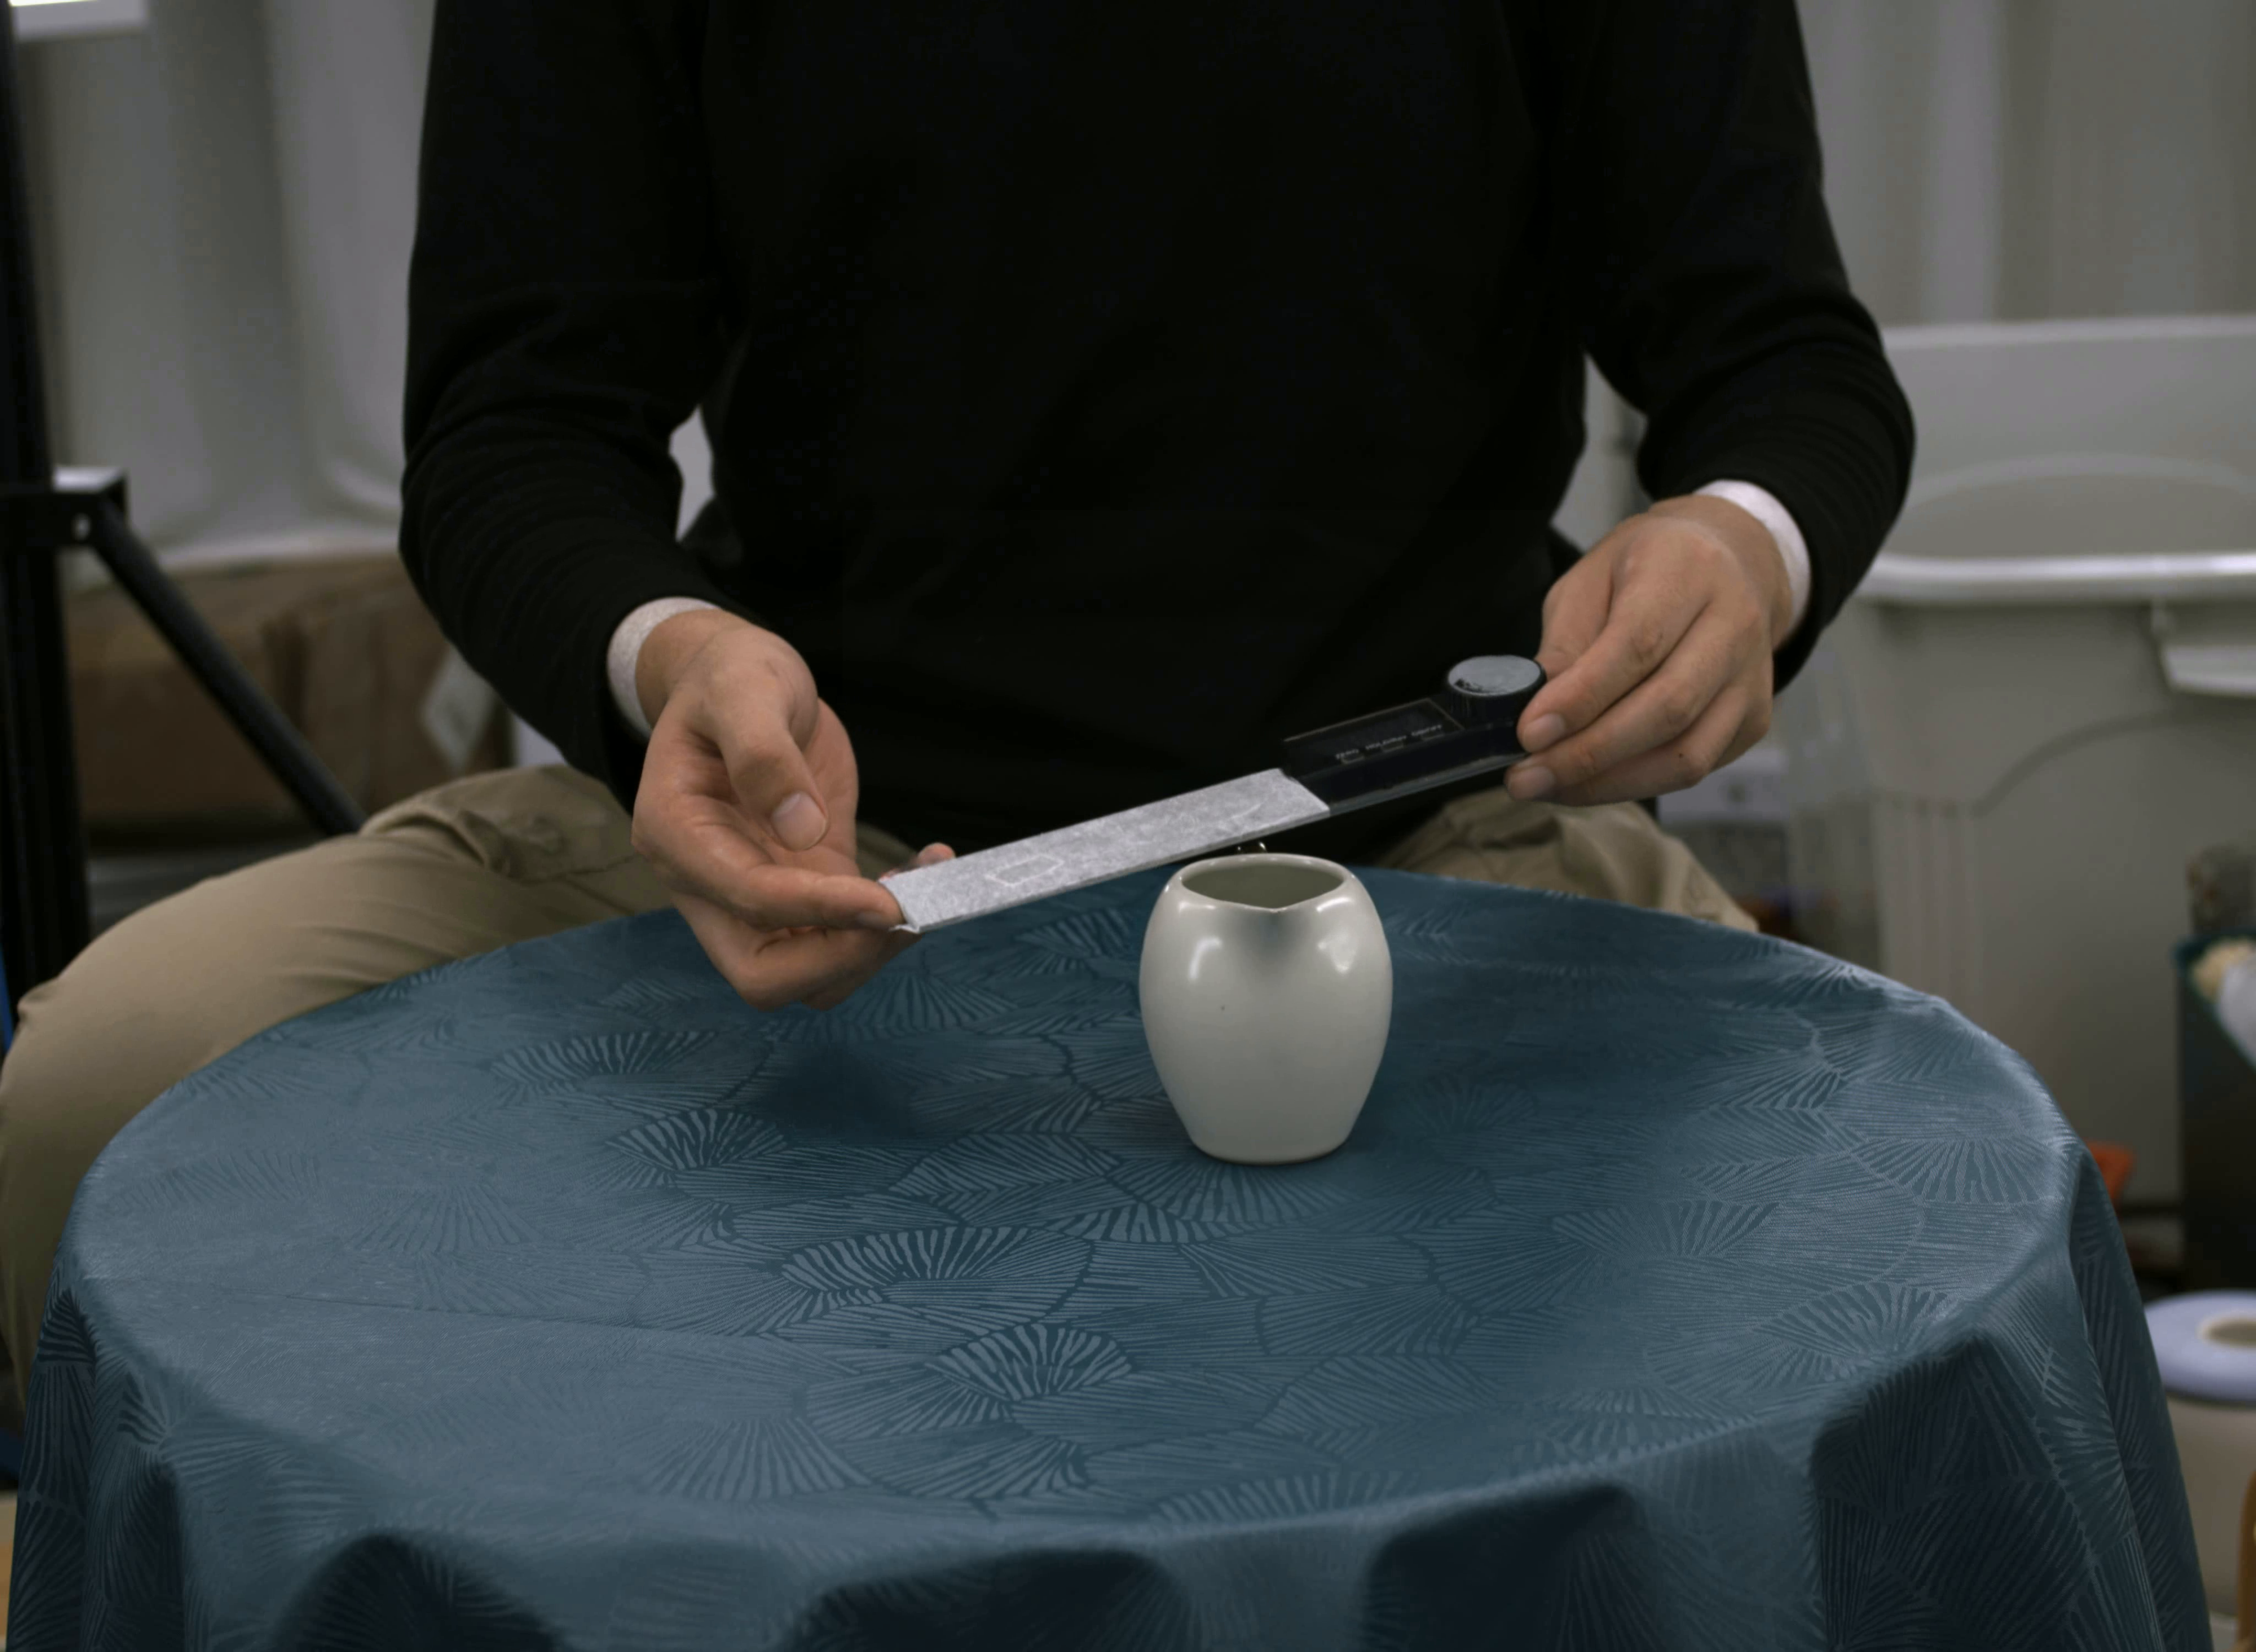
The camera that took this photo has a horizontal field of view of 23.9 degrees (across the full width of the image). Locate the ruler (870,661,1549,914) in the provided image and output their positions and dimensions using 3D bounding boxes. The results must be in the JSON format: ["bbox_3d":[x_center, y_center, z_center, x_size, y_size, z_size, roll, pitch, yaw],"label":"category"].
[{"bbox_3d":[0.027,-0.013,1.609,0.215,0.024,0.039,-14,20,-16],"label":"ruler"}]

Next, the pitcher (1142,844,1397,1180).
[{"bbox_3d":[0.042,0.054,1.582,0.075,0.088,0.119,2,16,1],"label":"pitcher"}]
